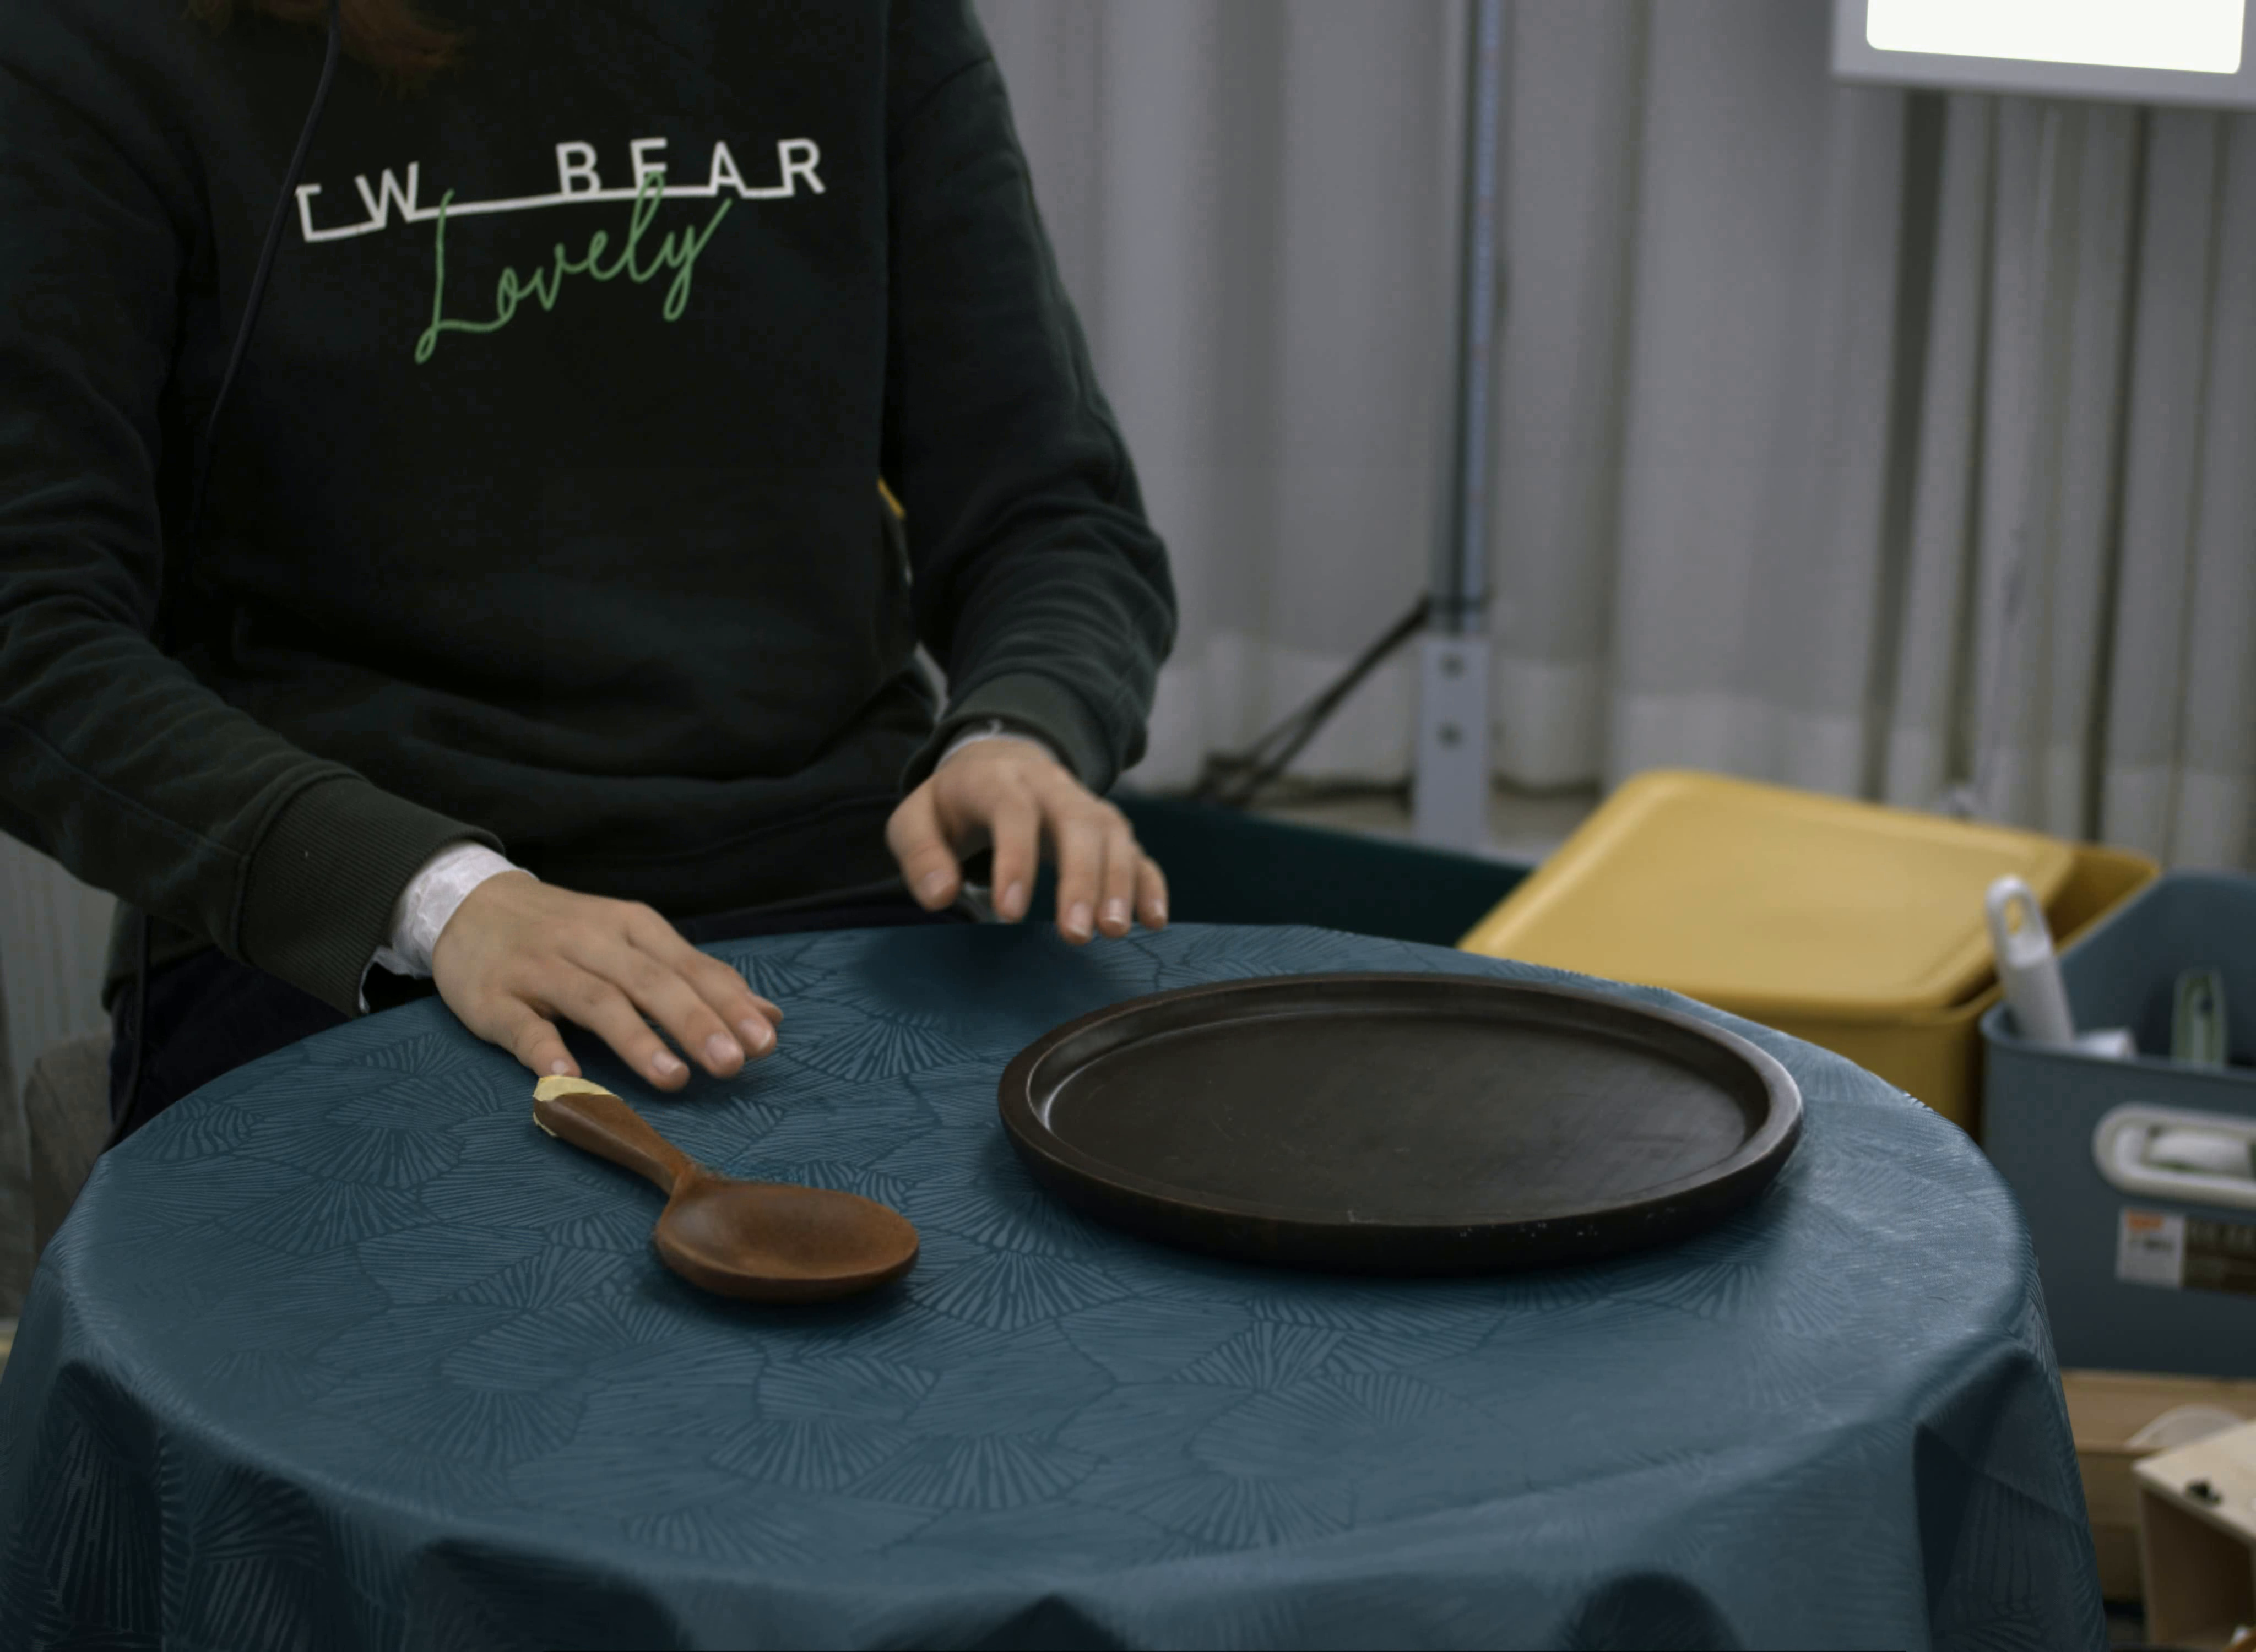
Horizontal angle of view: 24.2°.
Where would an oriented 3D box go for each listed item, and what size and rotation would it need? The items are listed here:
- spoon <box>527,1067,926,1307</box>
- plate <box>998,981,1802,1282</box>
[{"bbox_3d":[-0.131,0.110,1.598,0.076,0.017,0.213,-9,19,-29],"label":"spoon"},{"bbox_3d":[0.085,0.093,1.659,0.254,0.029,0.253,2,17,0],"label":"plate"}]
